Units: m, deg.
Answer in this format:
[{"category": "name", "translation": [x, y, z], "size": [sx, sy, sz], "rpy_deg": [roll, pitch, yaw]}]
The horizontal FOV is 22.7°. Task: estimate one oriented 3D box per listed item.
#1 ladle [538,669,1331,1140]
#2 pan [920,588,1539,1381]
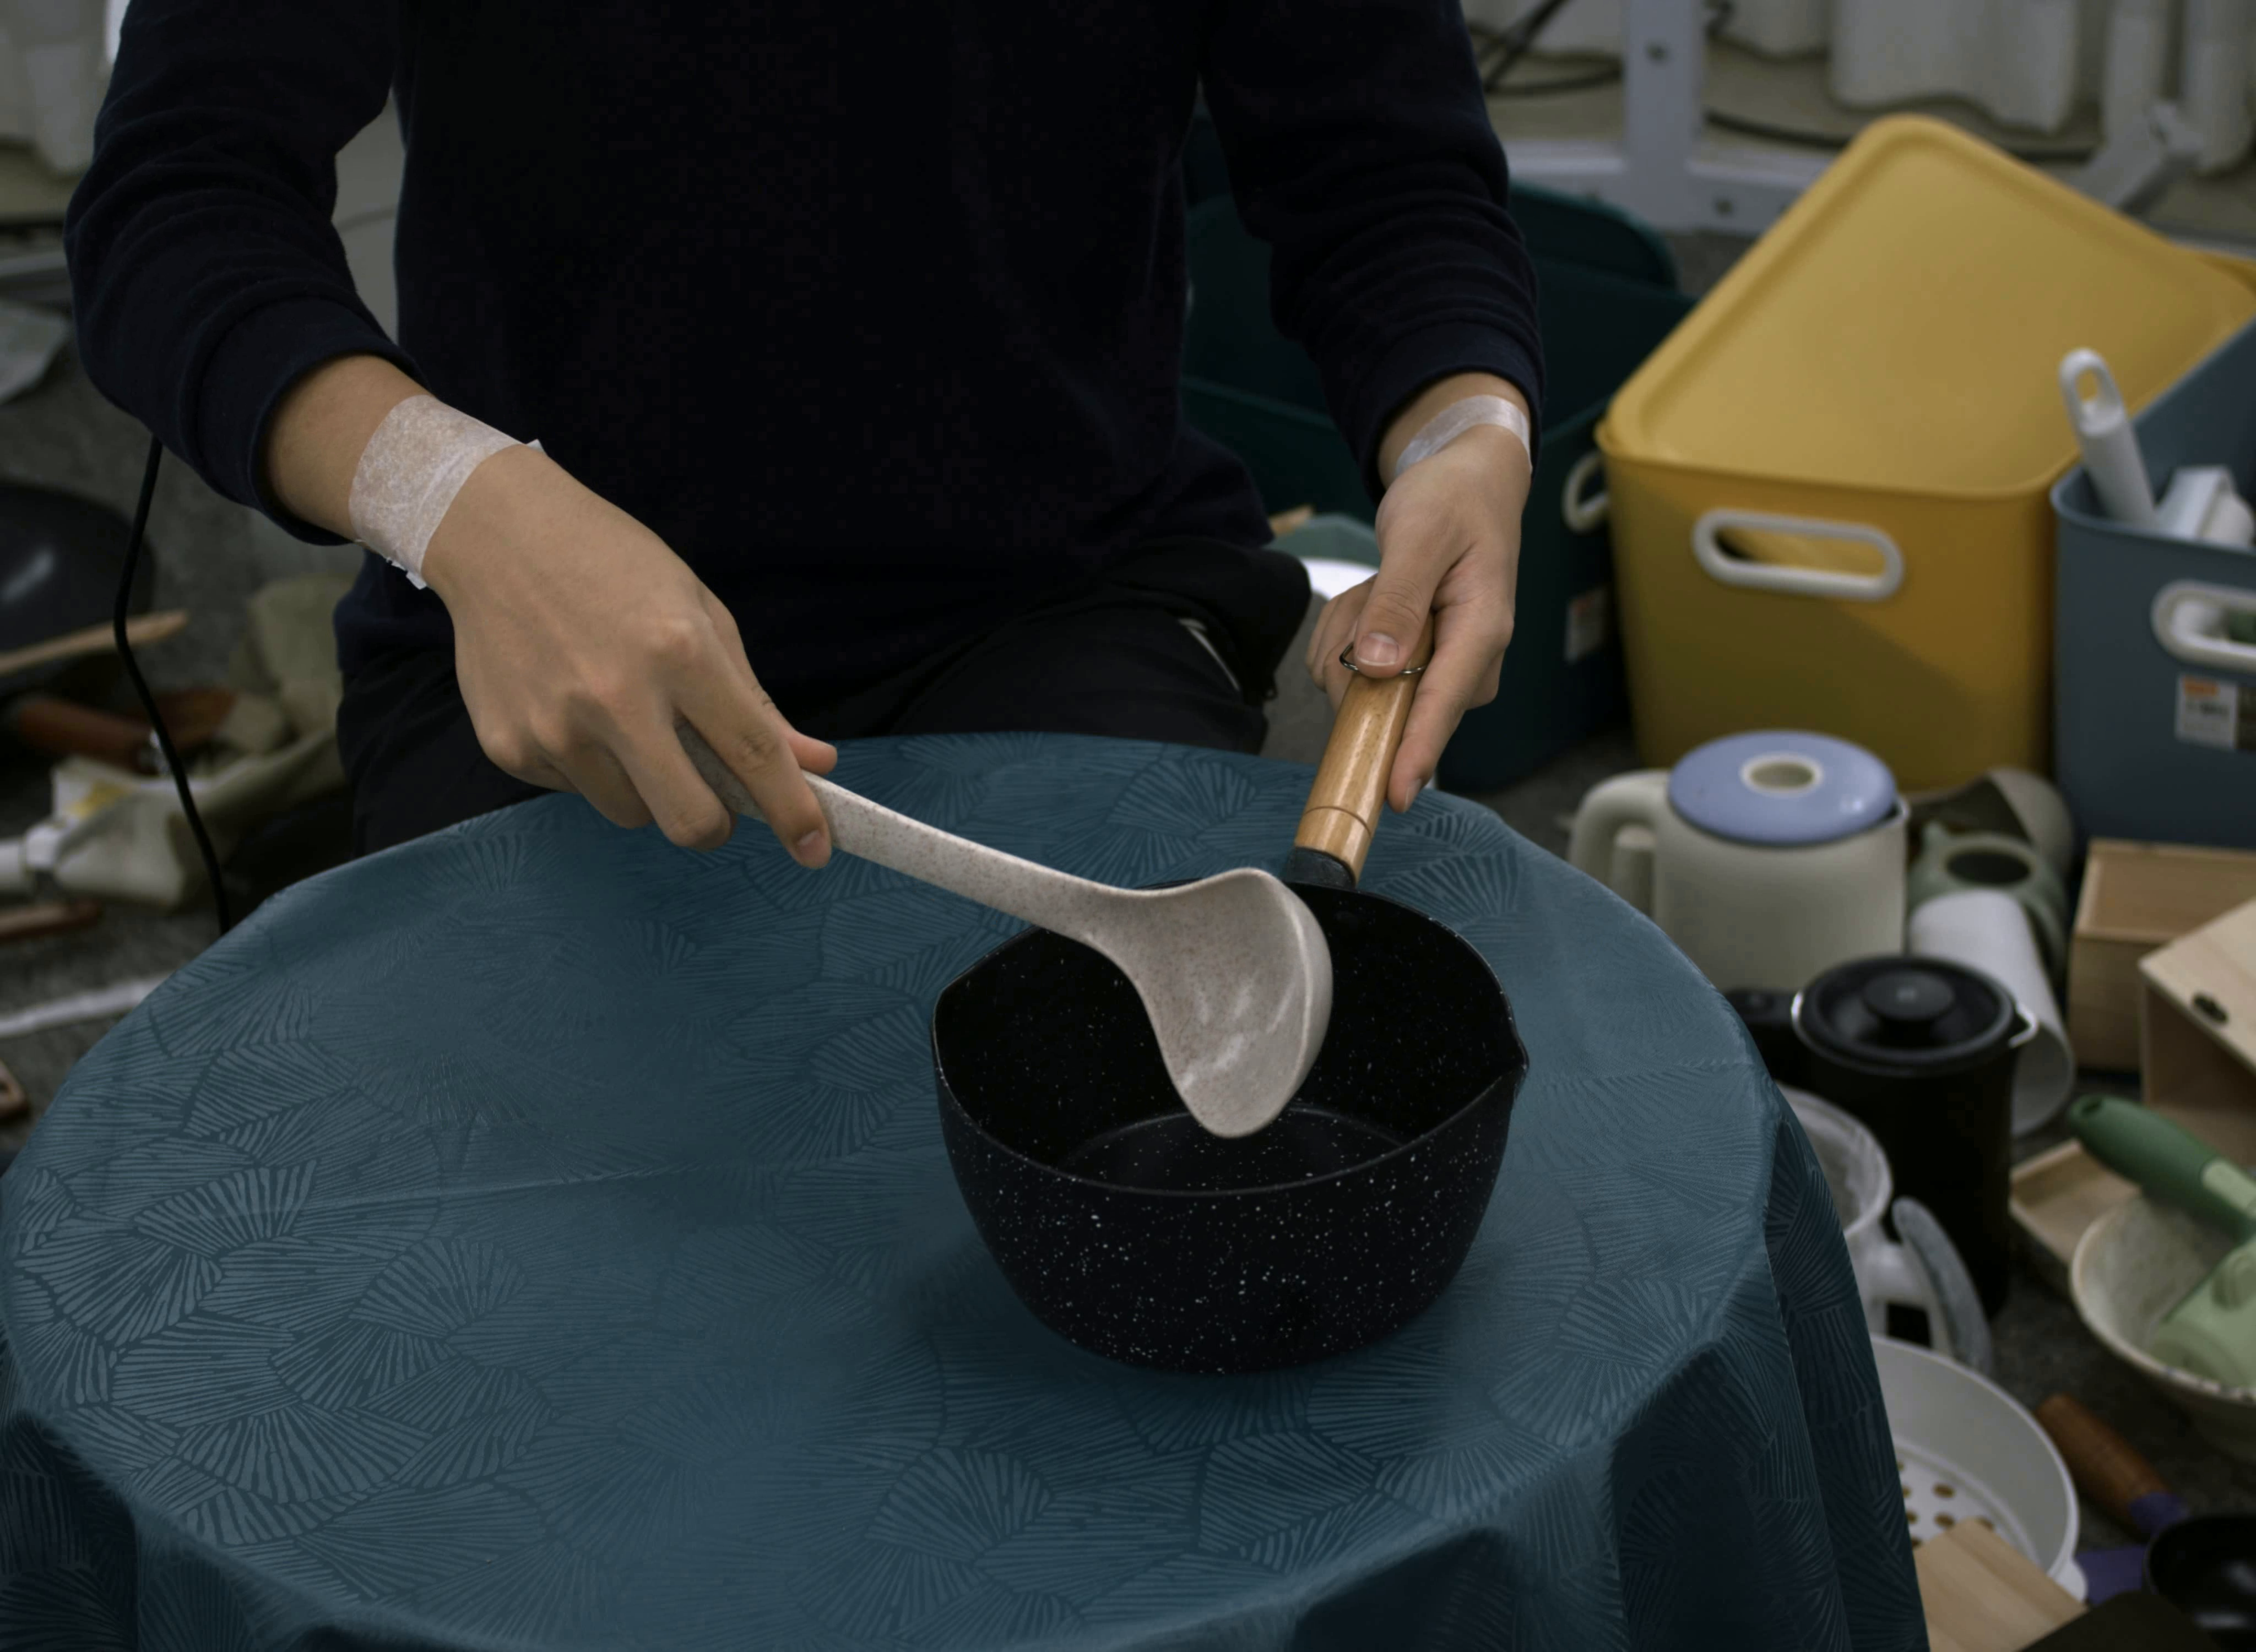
[{"category": "ladle", "translation": [-0.067, 0.018, 1.769], "size": [0.274, 0.088, 0.071], "rpy_deg": [20, 35, 2]}, {"category": "pan", "translation": [0.052, 0.049, 1.865], "size": [0.206, 0.107, 0.349], "rpy_deg": [4, 32, 15]}]
